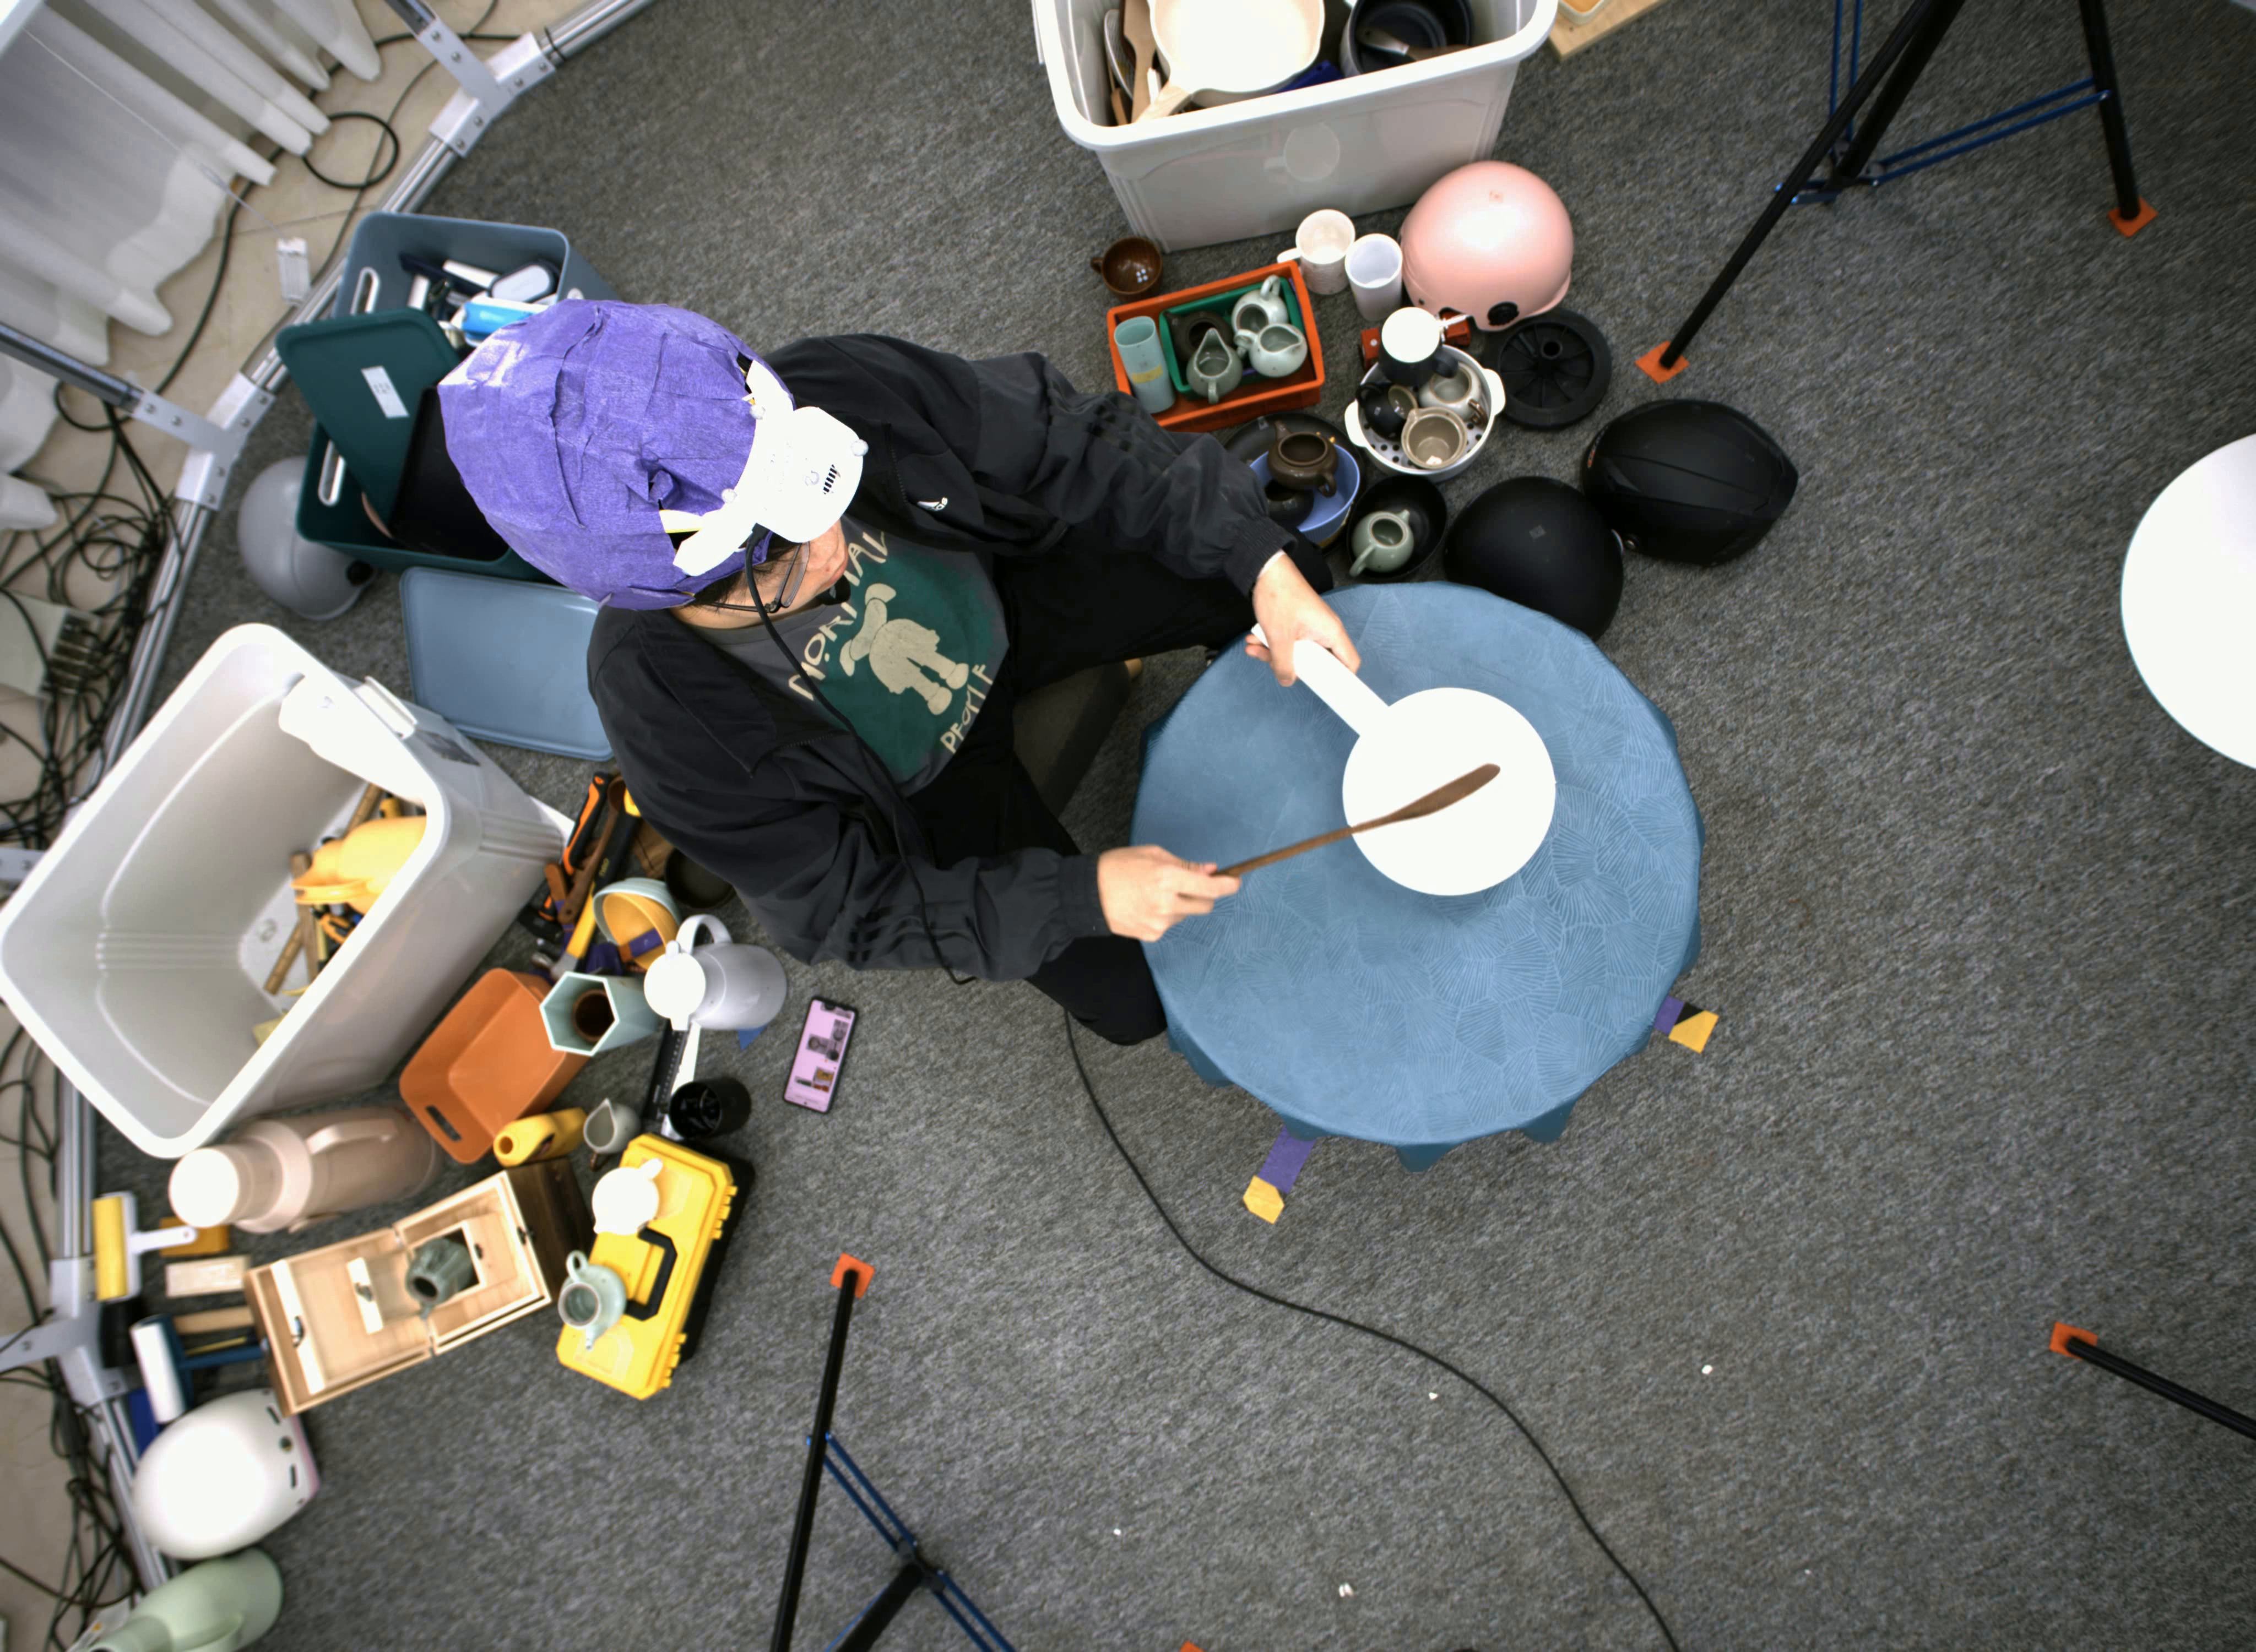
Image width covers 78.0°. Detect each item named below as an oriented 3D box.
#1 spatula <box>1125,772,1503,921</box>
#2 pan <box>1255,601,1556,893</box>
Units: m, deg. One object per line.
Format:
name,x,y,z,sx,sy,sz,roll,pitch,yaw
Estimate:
spatula,0.166,0.022,1.298,0.390,0.094,0.016,-21,96,21
pan,0.273,-0.092,1.390,0.353,0.101,0.204,45,108,10
